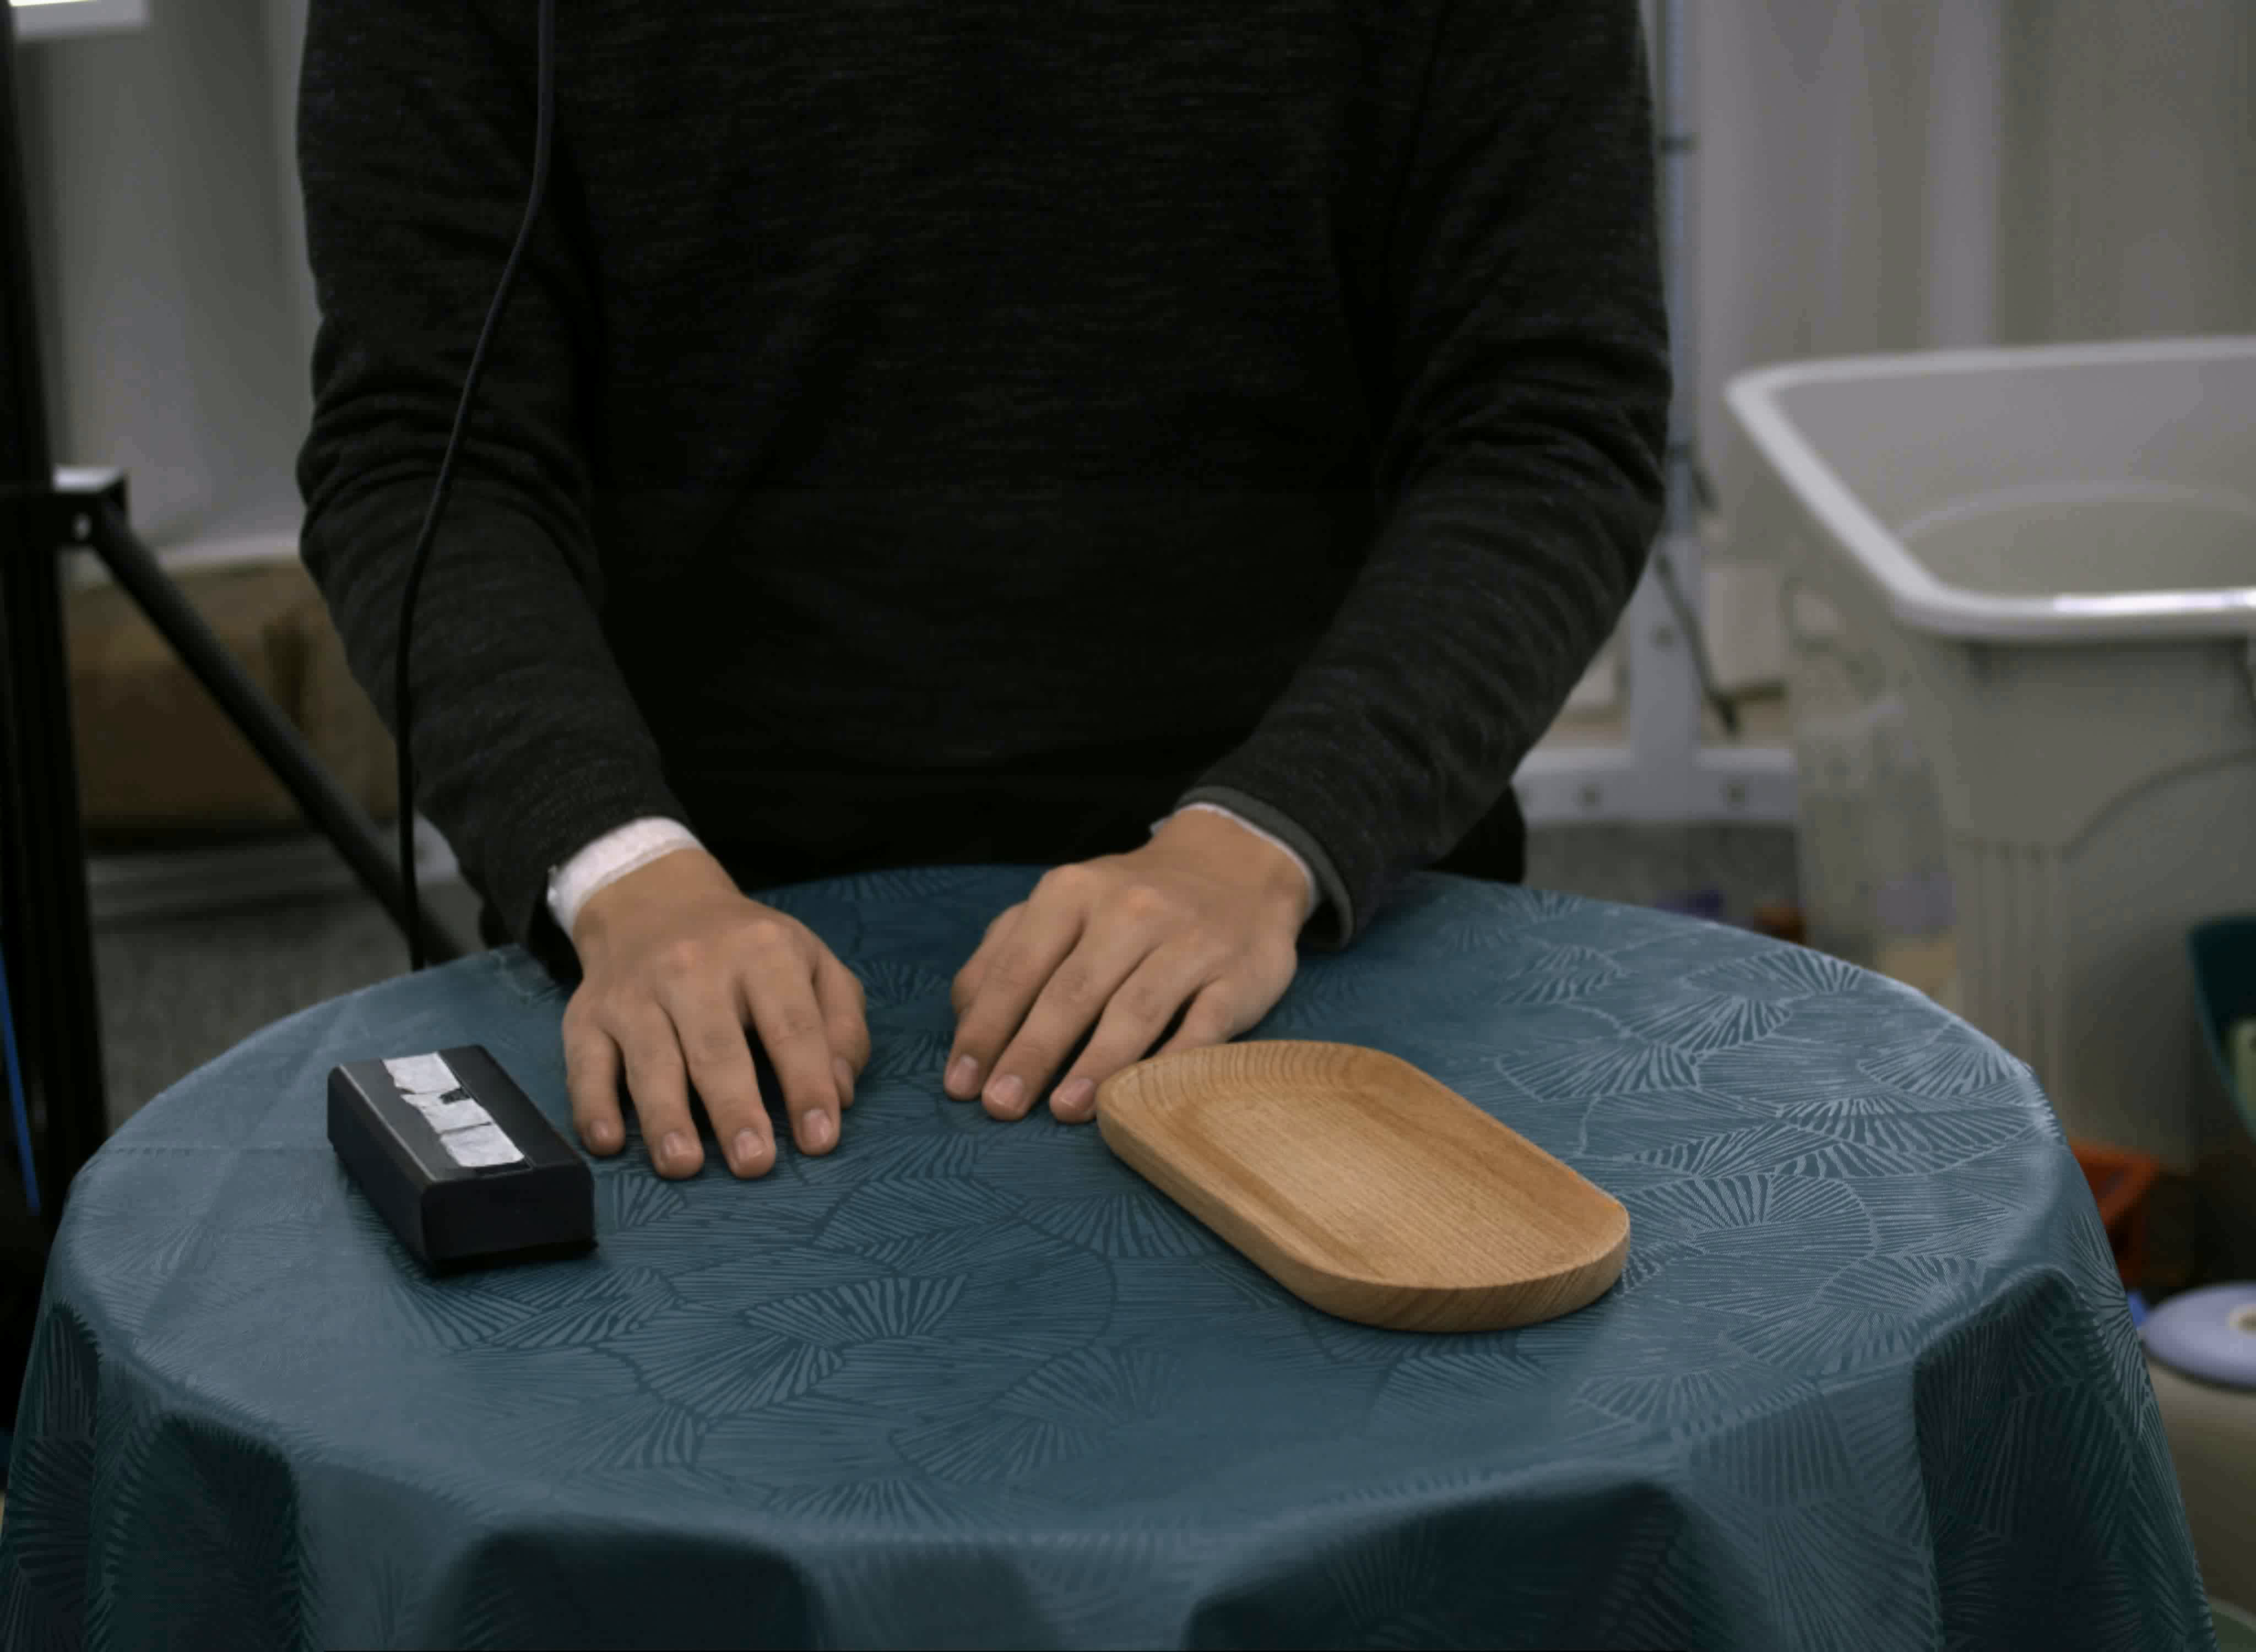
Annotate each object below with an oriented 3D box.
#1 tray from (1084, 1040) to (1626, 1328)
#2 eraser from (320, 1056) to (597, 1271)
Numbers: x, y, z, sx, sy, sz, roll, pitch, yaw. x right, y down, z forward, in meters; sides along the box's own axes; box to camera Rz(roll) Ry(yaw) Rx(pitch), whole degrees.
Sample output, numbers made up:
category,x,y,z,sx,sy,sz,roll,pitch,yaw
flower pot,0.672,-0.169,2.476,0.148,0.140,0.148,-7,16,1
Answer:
category,x,y,z,sx,sy,sz,roll,pitch,yaw
tray,0.063,0.102,1.539,0.100,0.020,0.235,-7,15,-21
eraser,-0.198,0.099,1.572,0.052,0.030,0.128,-5,15,-20
